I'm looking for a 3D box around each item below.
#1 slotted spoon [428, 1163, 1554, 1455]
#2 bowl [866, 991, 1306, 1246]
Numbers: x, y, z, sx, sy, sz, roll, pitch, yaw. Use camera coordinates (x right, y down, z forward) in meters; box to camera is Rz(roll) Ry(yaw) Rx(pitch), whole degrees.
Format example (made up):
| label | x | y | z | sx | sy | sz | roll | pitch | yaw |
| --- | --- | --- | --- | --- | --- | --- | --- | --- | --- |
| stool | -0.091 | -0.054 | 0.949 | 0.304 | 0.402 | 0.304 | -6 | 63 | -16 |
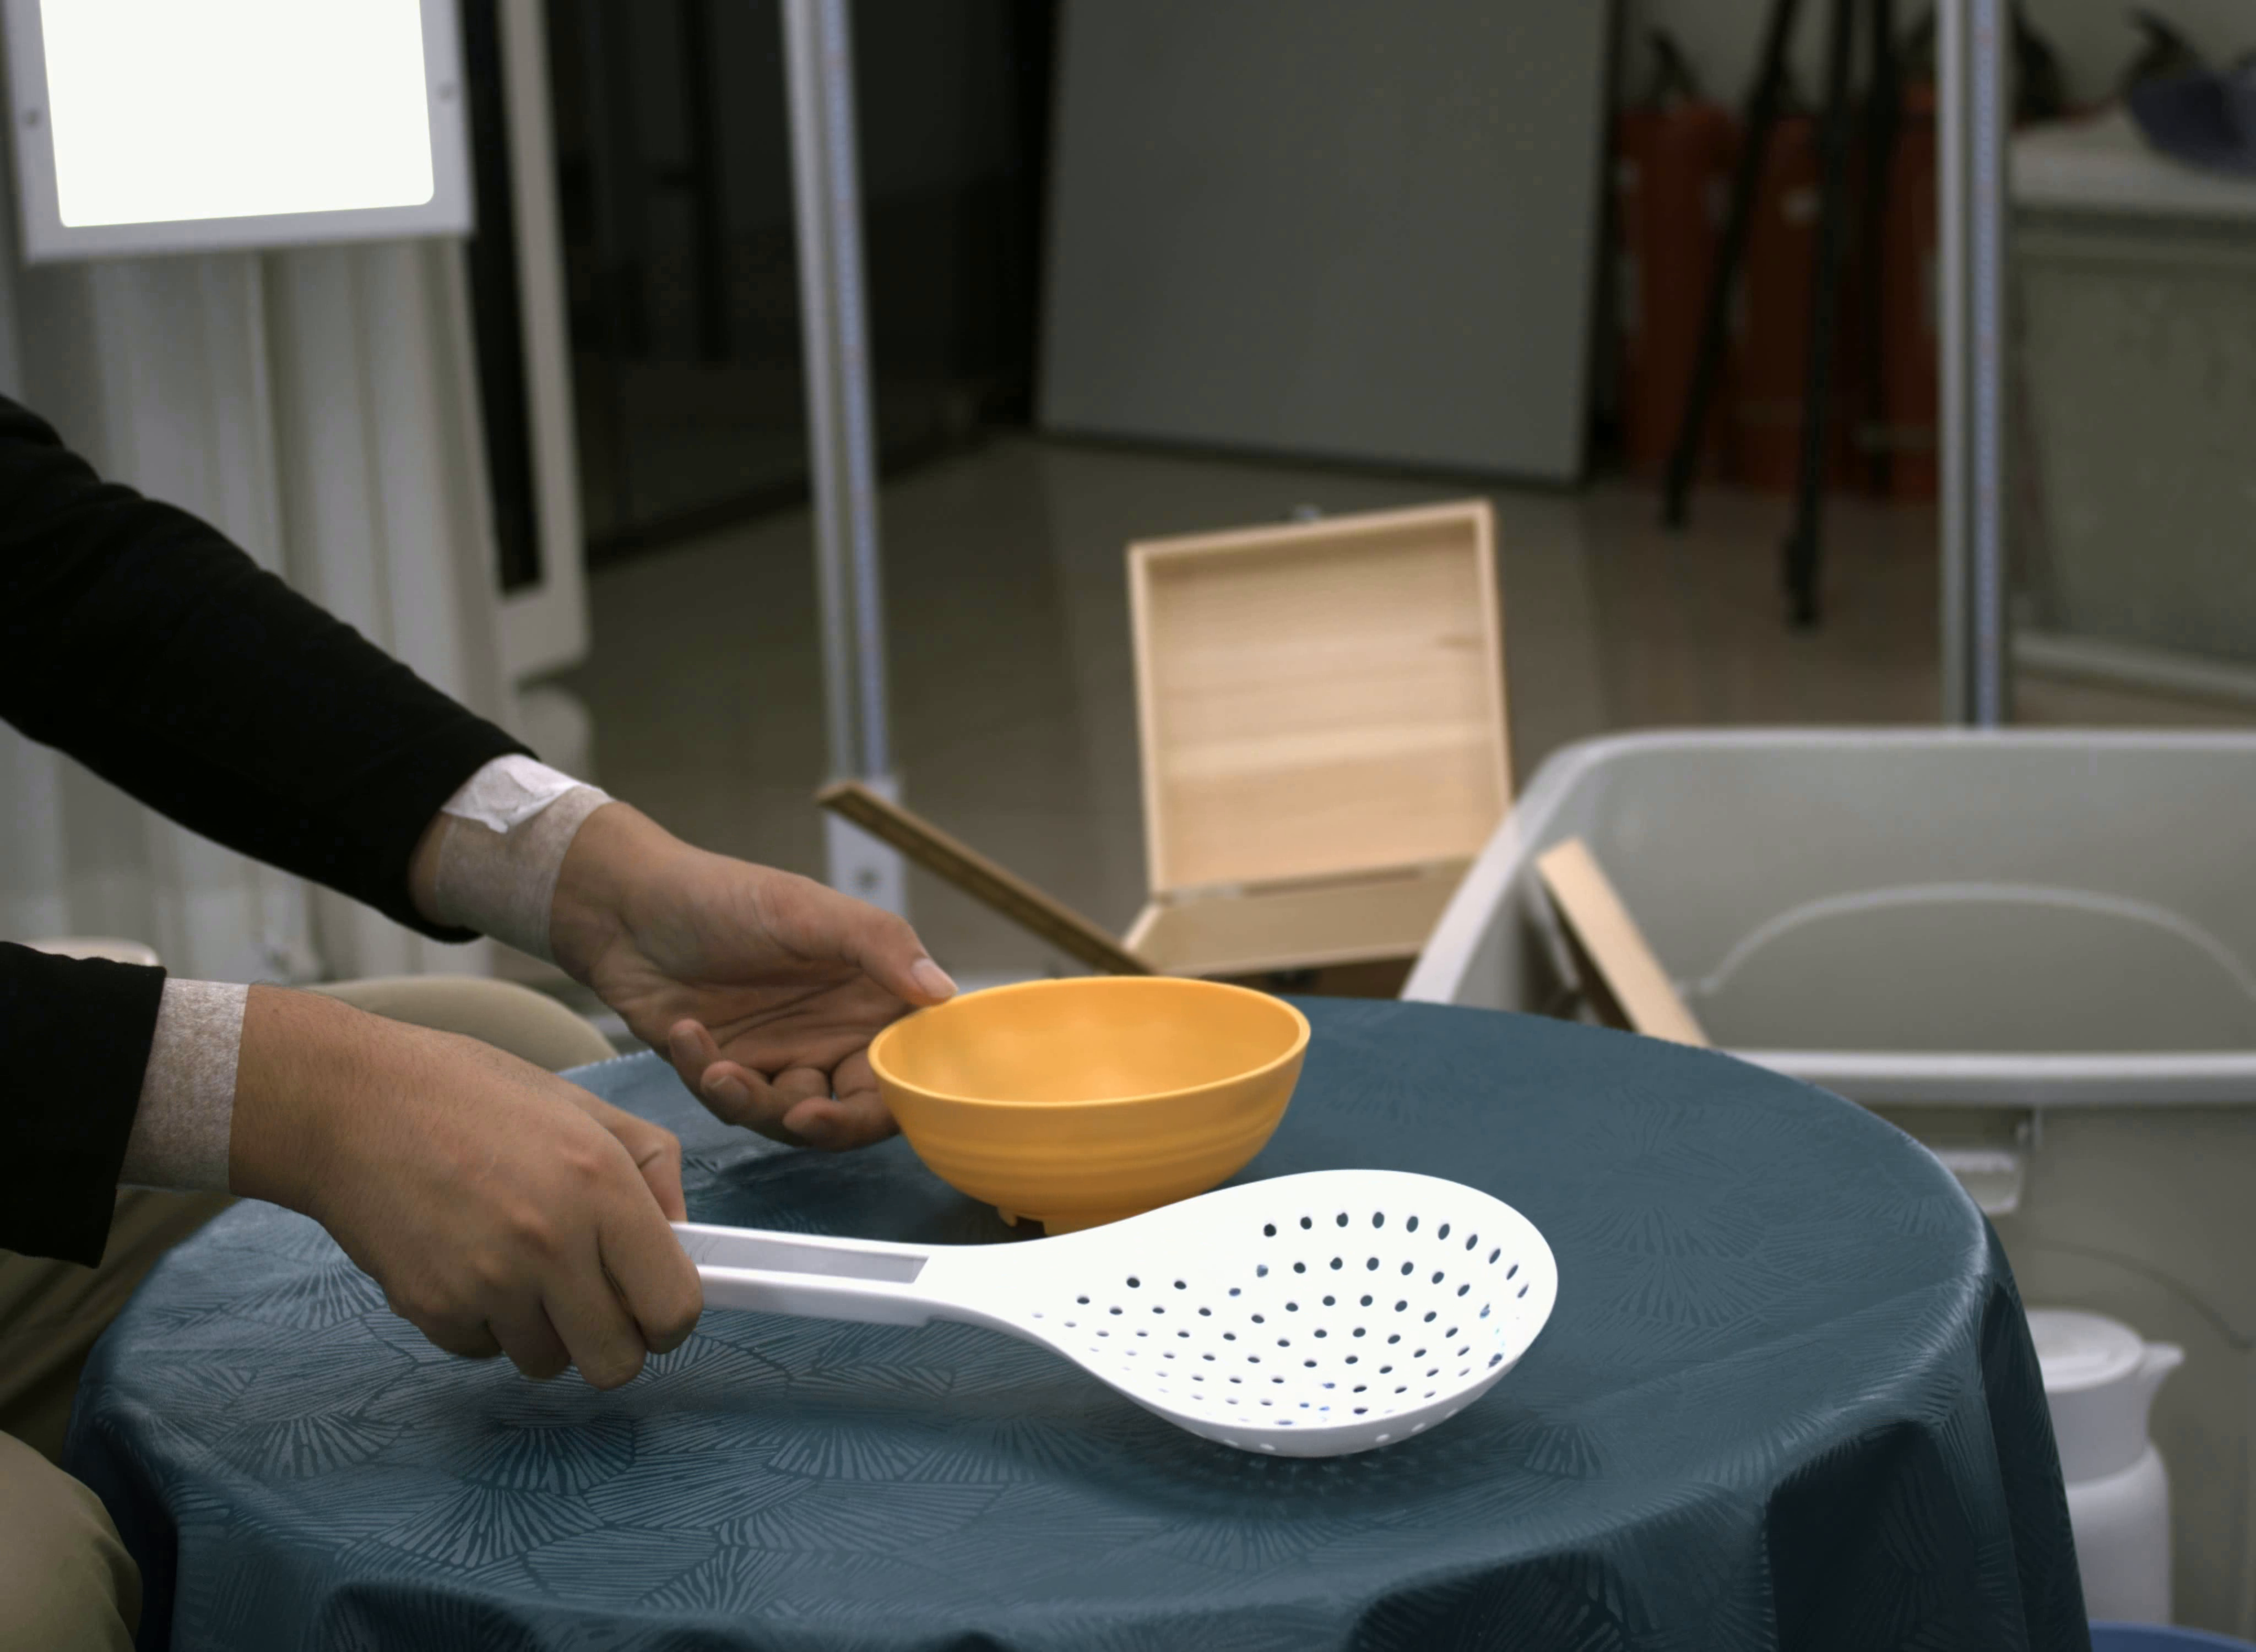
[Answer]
| label | x | y | z | sx | sy | sz | roll | pitch | yaw |
| --- | --- | --- | --- | --- | --- | --- | --- | --- | --- |
| slotted spoon | -0.045 | 0.136 | 1.575 | 0.349 | 0.046 | 0.135 | 6 | 31 | 19 |
| bowl | -0.013 | 0.098 | 1.748 | 0.143 | 0.061 | 0.145 | -3 | 12 | 0 |
